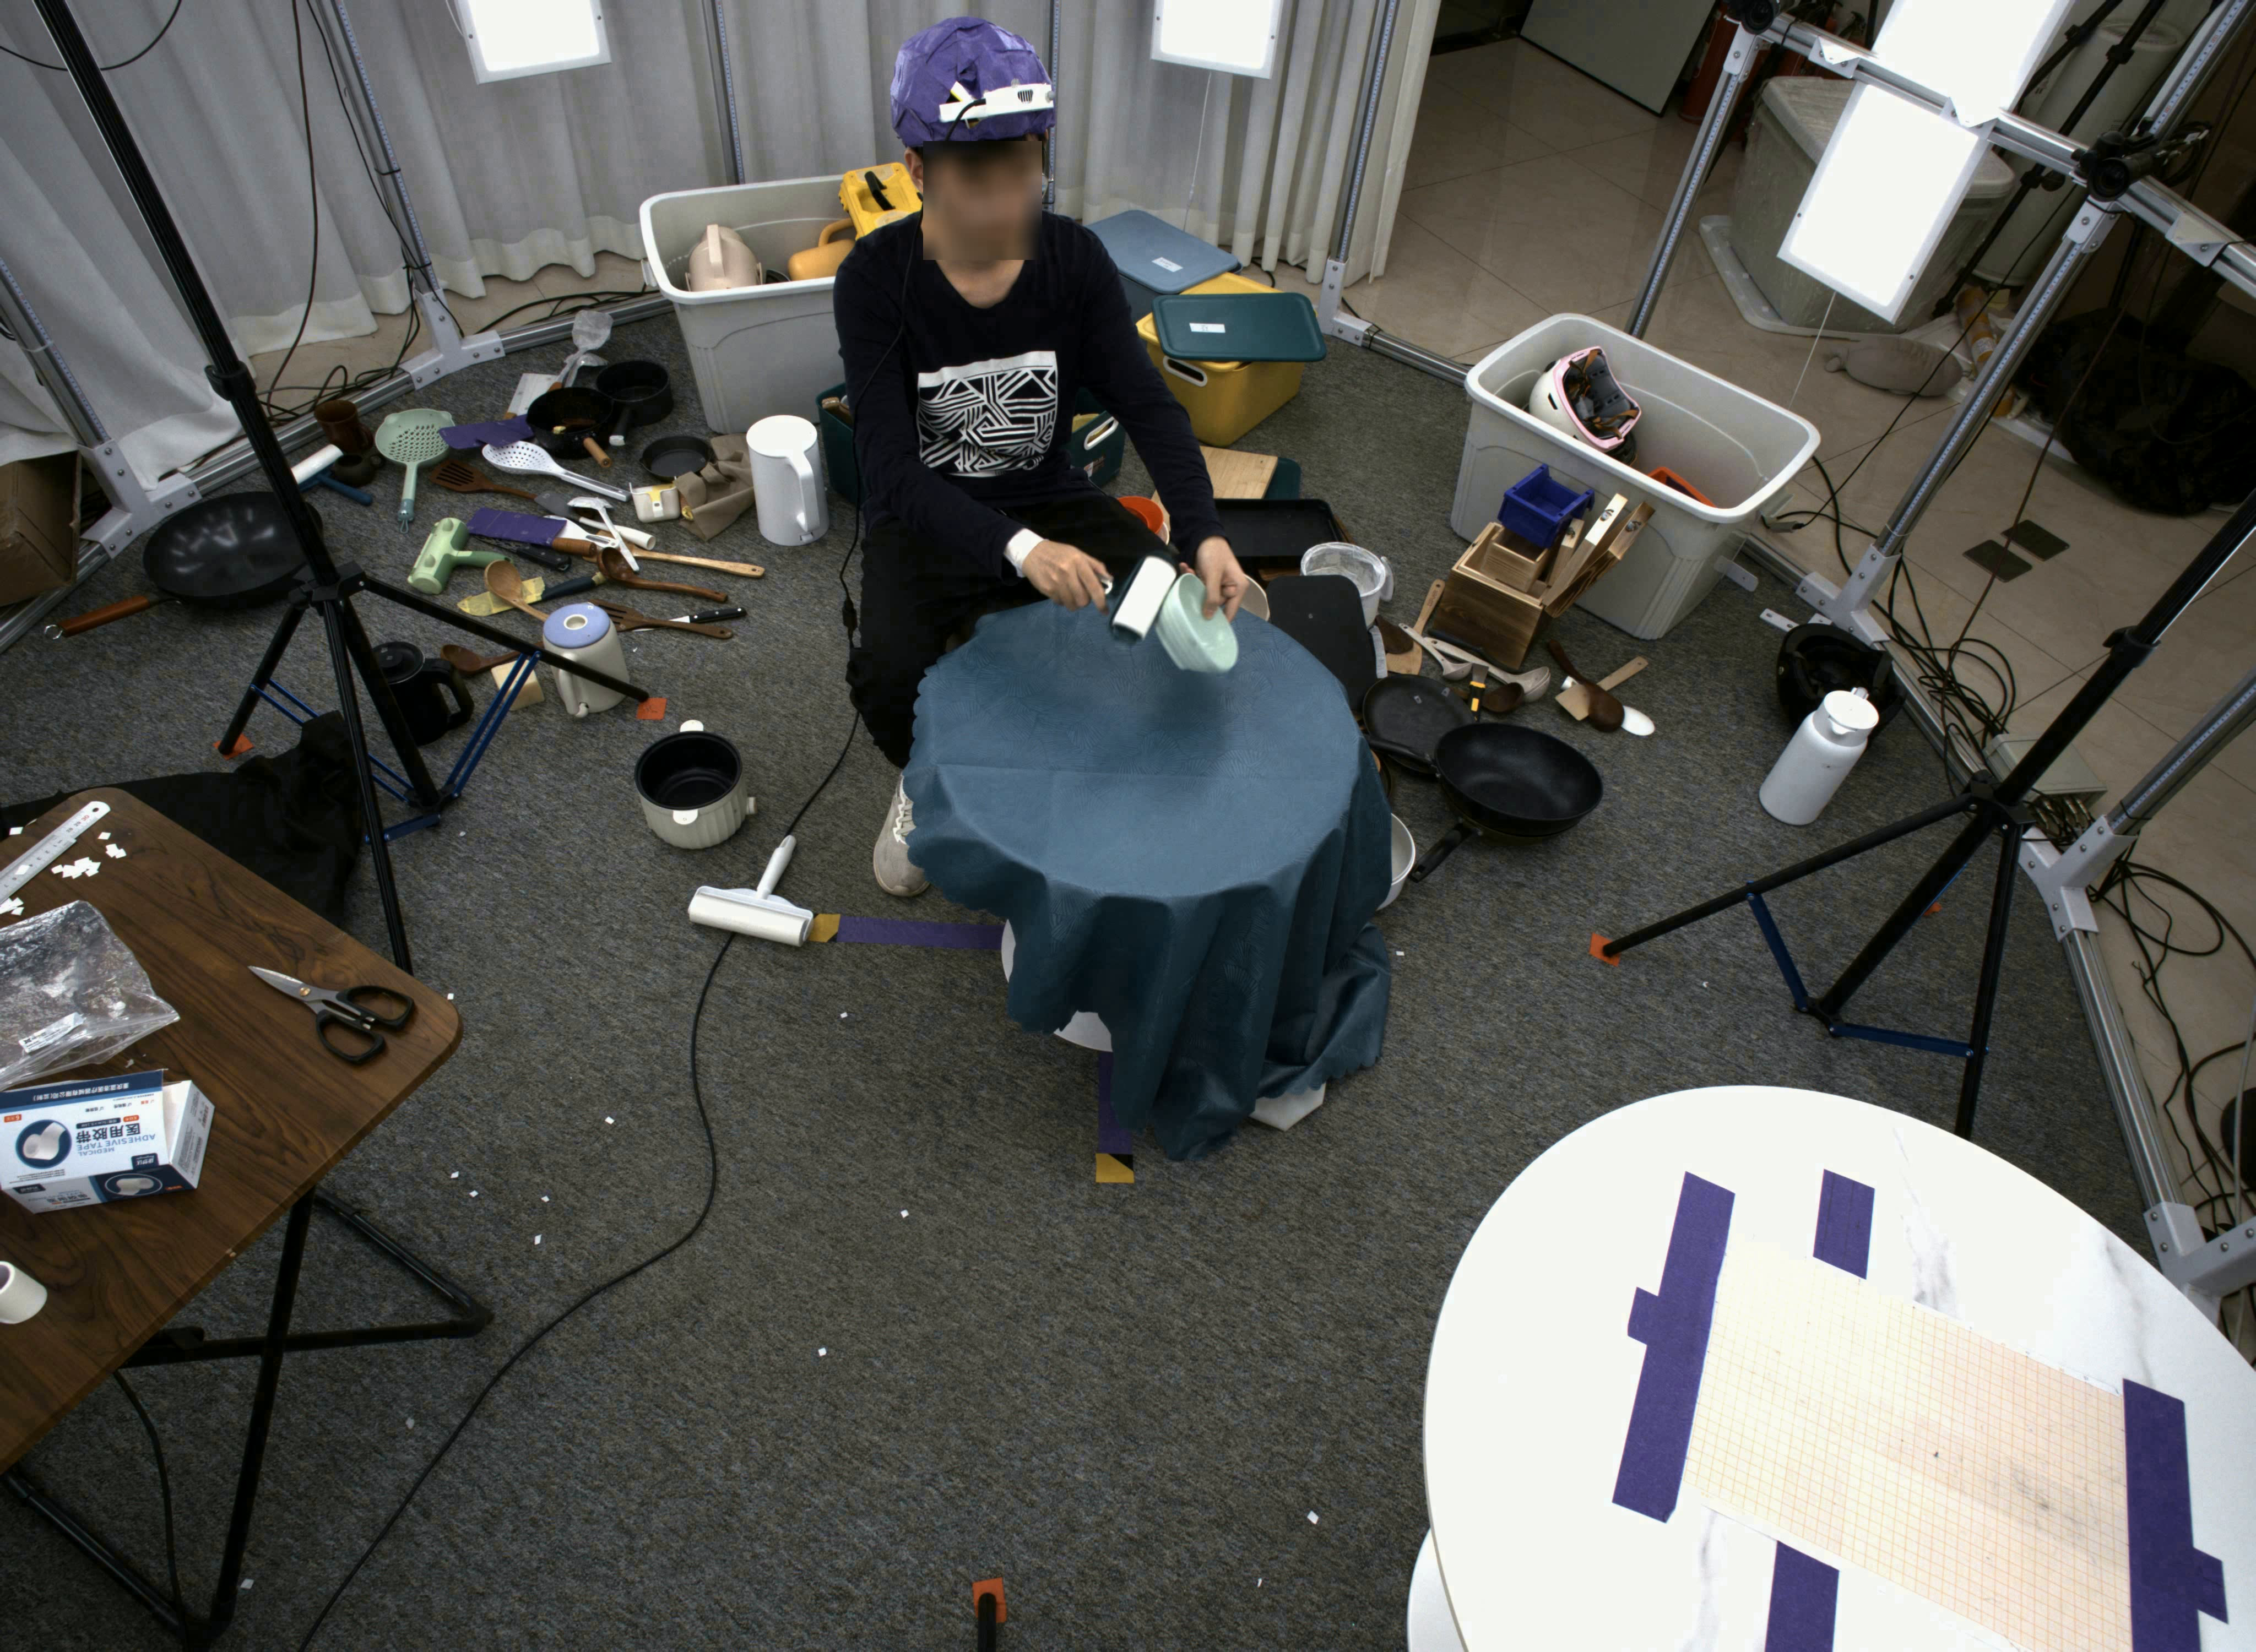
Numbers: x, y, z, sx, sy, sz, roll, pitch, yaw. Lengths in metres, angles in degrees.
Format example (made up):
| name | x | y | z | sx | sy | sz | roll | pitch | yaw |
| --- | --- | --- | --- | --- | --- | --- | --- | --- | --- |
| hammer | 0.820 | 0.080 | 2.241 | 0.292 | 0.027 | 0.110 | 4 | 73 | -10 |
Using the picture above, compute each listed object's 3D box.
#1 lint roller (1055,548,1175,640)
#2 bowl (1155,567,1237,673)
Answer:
| name | x | y | z | sx | sy | sz | roll | pitch | yaw |
| --- | --- | --- | --- | --- | --- | --- | --- | --- | --- |
| lint roller | -0.033 | -0.326 | 1.732 | 0.182 | 0.047 | 0.135 | 19 | 74 | 31 |
| bowl | 0.086 | -0.272 | 1.737 | 0.058 | 0.148 | 0.155 | -16 | 41 | 31 |
